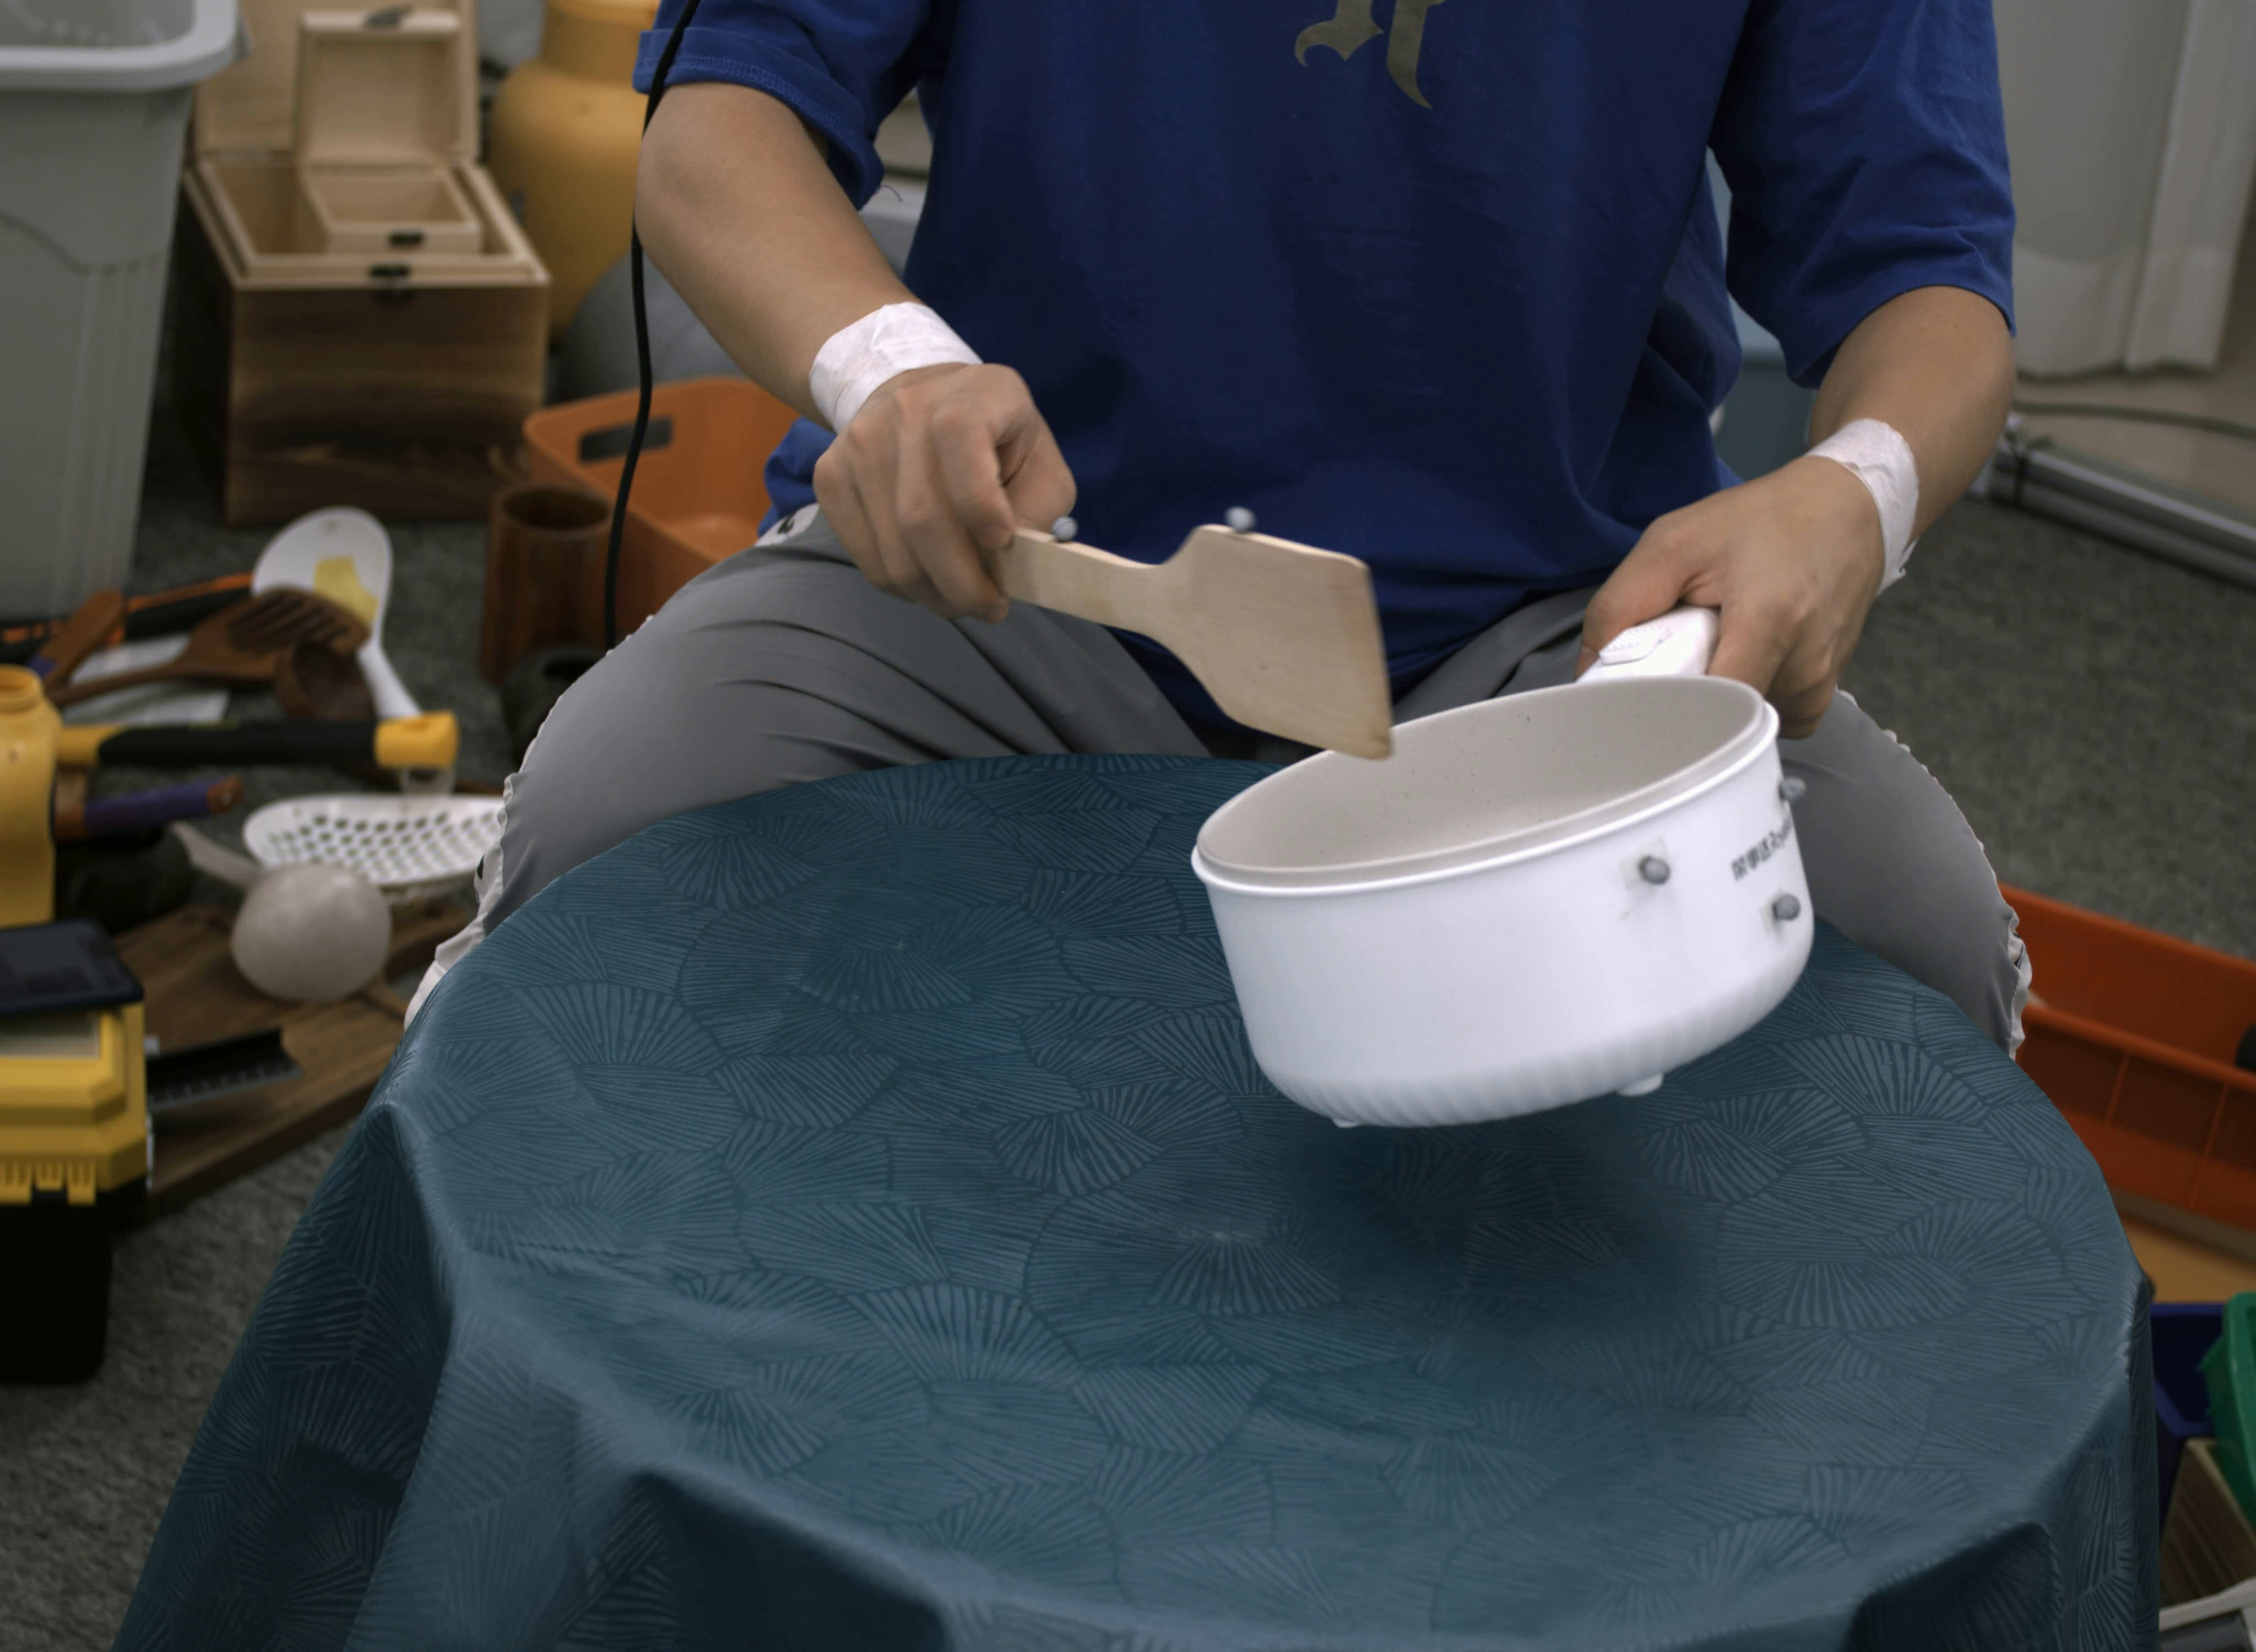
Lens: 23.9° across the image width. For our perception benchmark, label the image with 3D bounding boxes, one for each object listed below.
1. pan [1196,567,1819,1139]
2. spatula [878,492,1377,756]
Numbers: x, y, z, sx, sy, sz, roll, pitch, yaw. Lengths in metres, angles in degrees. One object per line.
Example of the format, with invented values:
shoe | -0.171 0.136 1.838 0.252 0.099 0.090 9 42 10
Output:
pan | 0.162 0.006 1.848 0.201 0.102 0.354 -11 14 28
spatula | -0.009 -0.082 1.815 0.010 0.072 0.295 -23 23 -28
